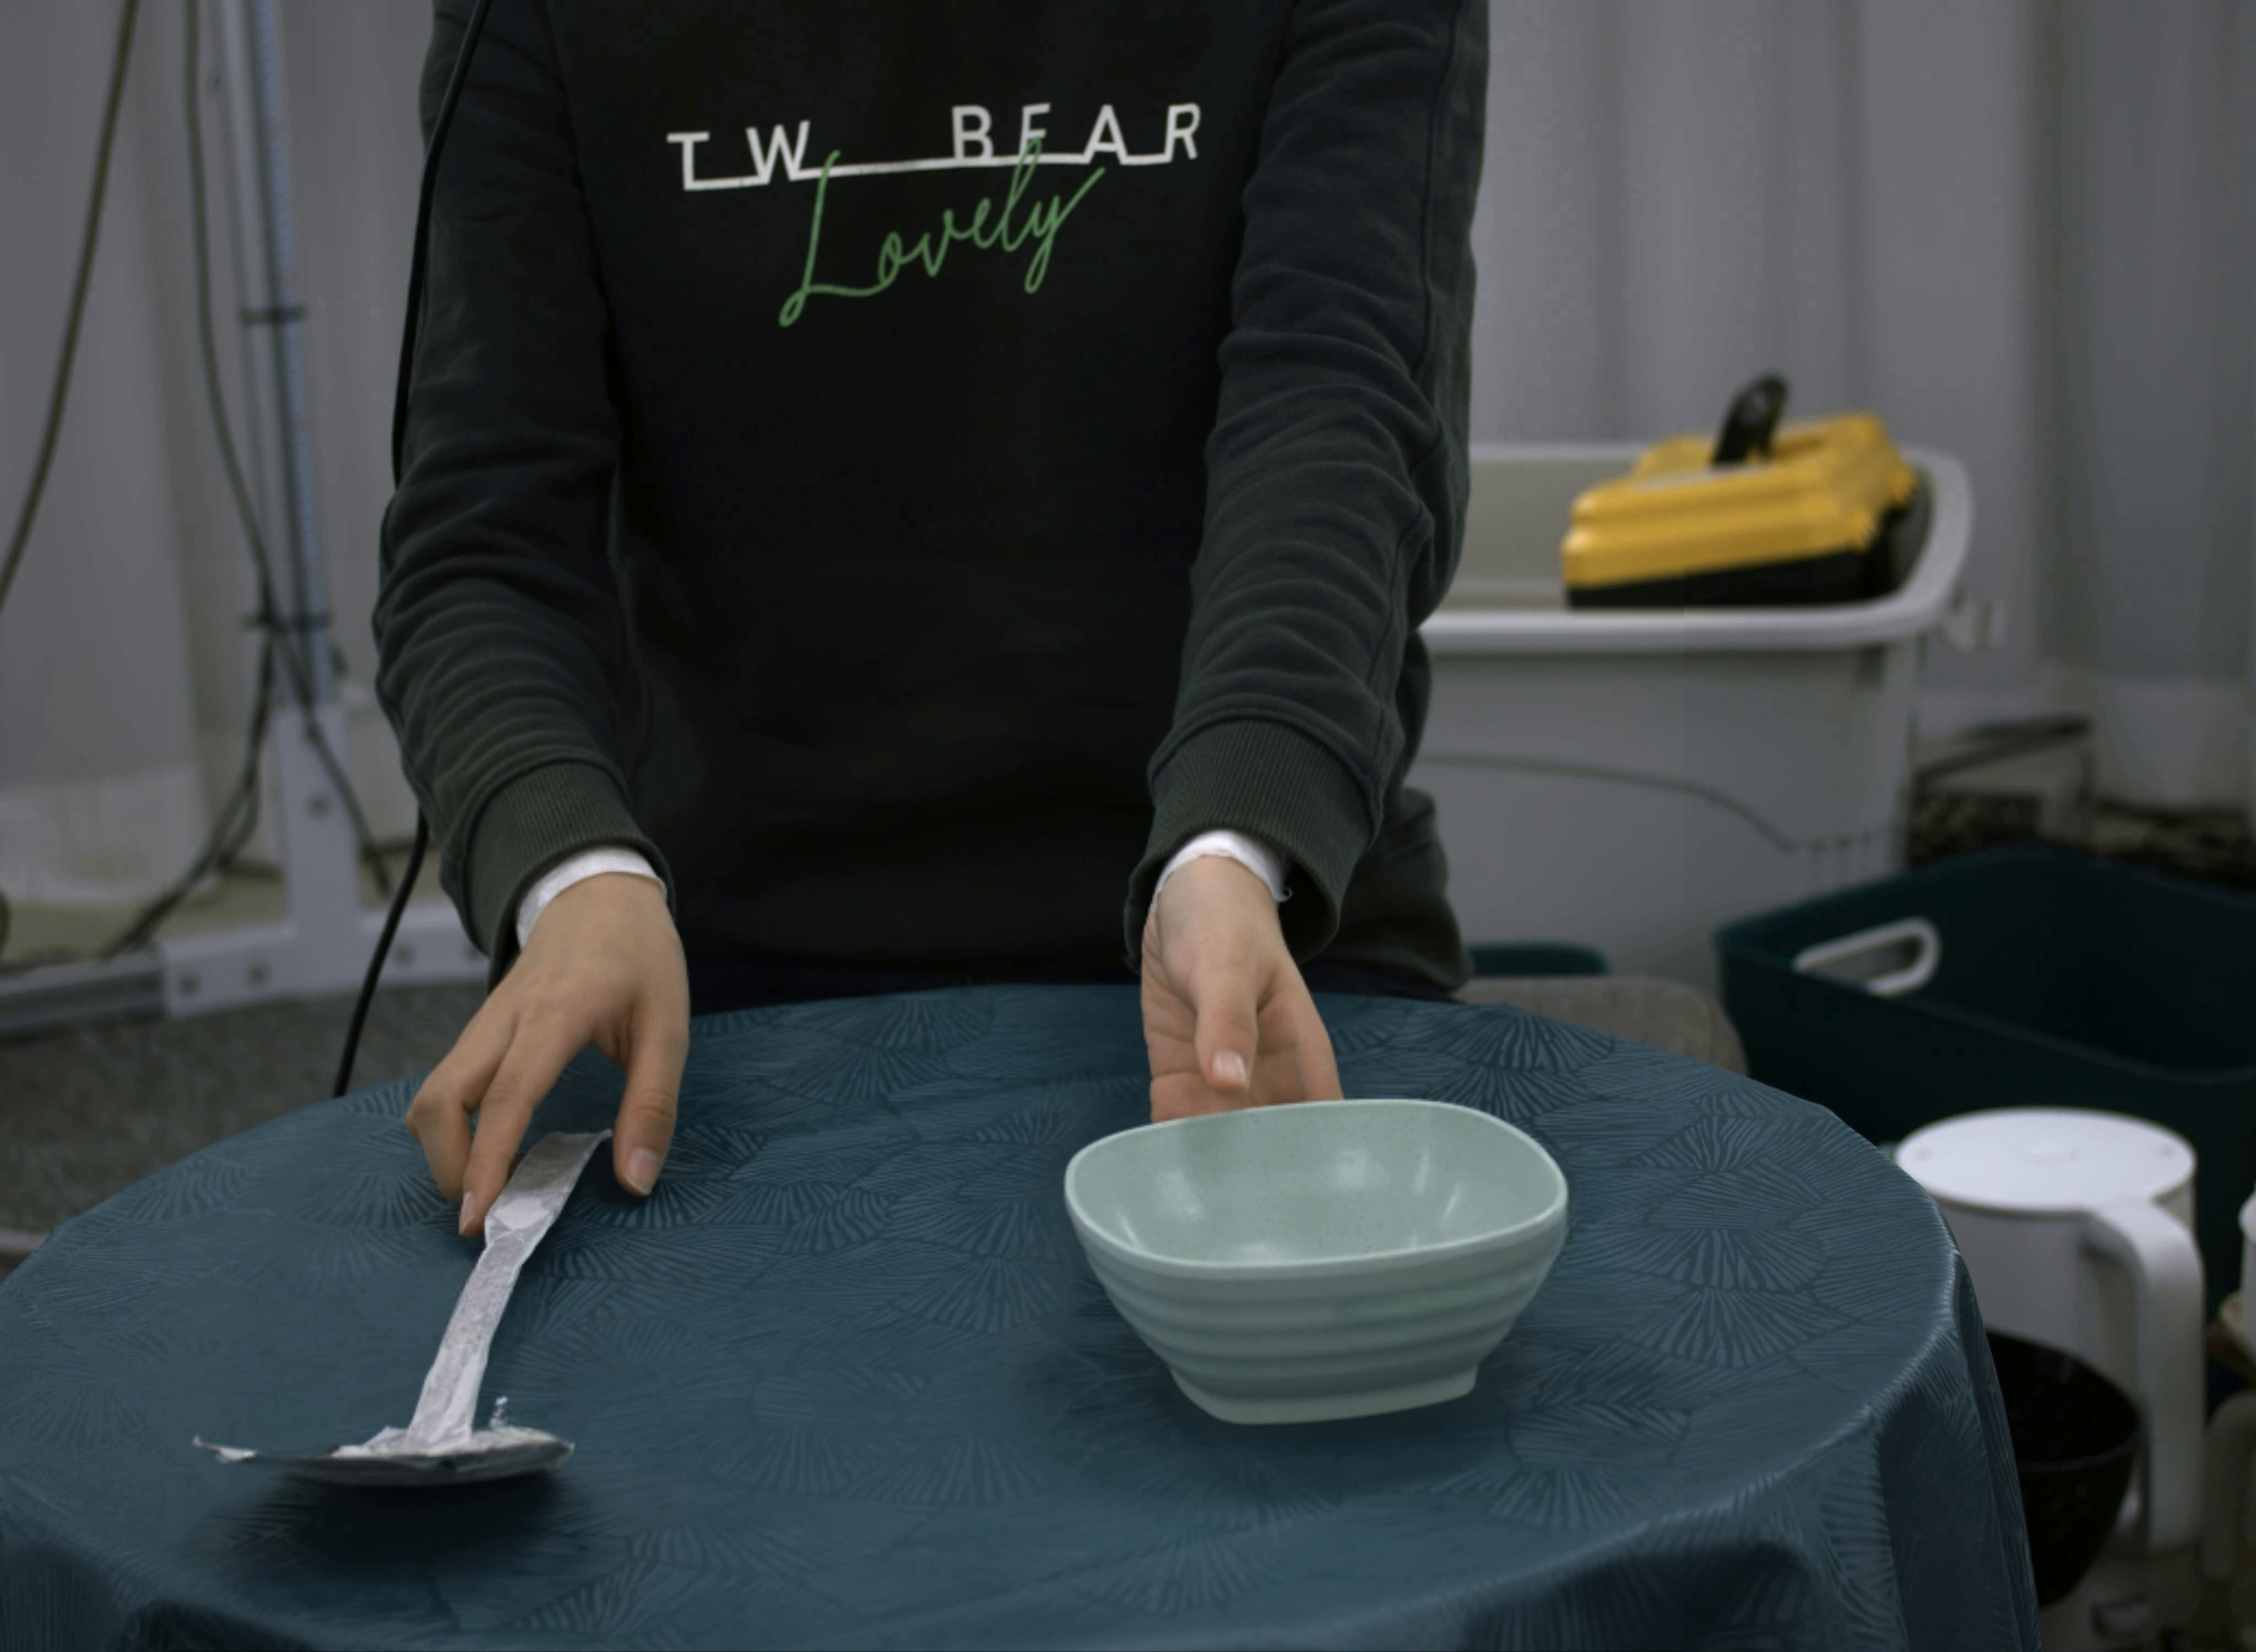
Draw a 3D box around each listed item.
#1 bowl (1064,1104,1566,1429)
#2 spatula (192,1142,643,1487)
[{"bbox_3d":[0.052,0.128,1.548,0.151,0.058,0.152,0,15,0],"label":"bowl"},{"bbox_3d":[-0.185,0.134,1.602,0.098,0.044,0.367,-3,15,6],"label":"spatula"}]
